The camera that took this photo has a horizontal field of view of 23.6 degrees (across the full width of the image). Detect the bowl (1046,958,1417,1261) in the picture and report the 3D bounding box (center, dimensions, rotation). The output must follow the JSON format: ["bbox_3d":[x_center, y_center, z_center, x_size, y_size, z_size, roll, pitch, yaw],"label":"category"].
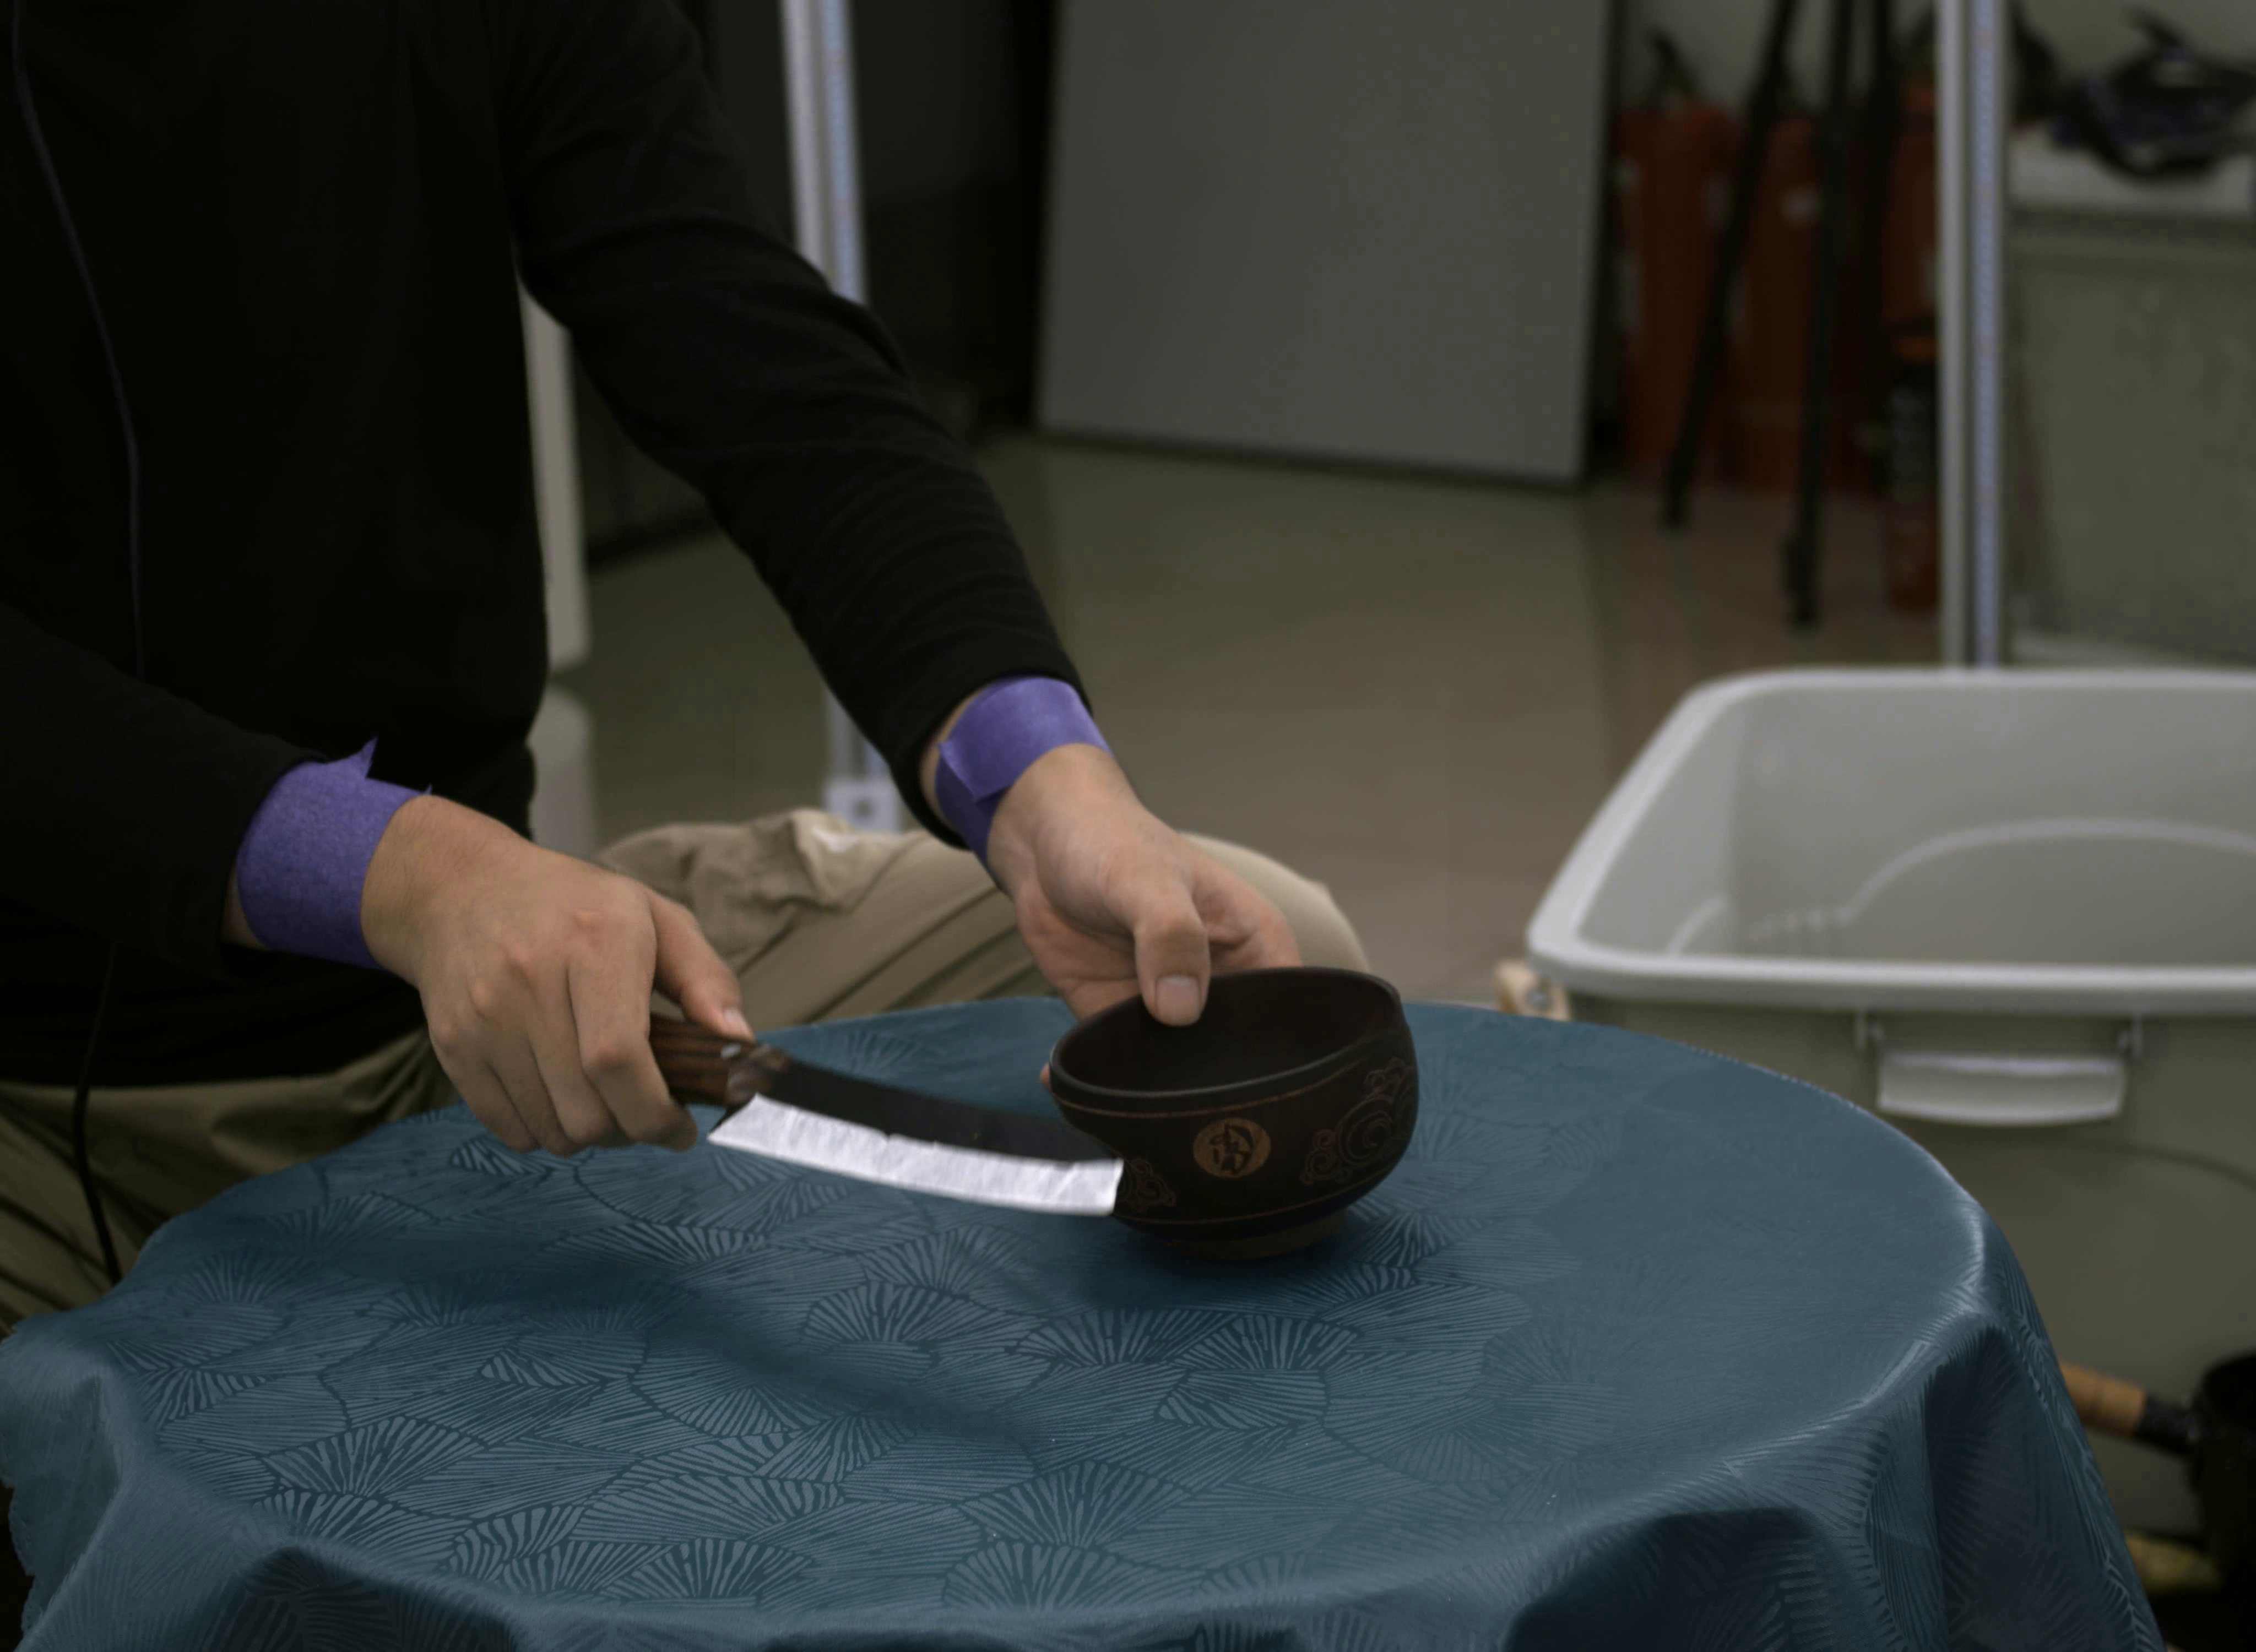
[{"bbox_3d":[0.036,0.095,1.709,0.117,0.070,0.118,-12,15,2],"label":"bowl"}]

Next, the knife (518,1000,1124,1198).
[{"bbox_3d":[-0.097,0.084,1.651,0.049,0.020,0.292,-38,30,-31],"label":"knife"}]
